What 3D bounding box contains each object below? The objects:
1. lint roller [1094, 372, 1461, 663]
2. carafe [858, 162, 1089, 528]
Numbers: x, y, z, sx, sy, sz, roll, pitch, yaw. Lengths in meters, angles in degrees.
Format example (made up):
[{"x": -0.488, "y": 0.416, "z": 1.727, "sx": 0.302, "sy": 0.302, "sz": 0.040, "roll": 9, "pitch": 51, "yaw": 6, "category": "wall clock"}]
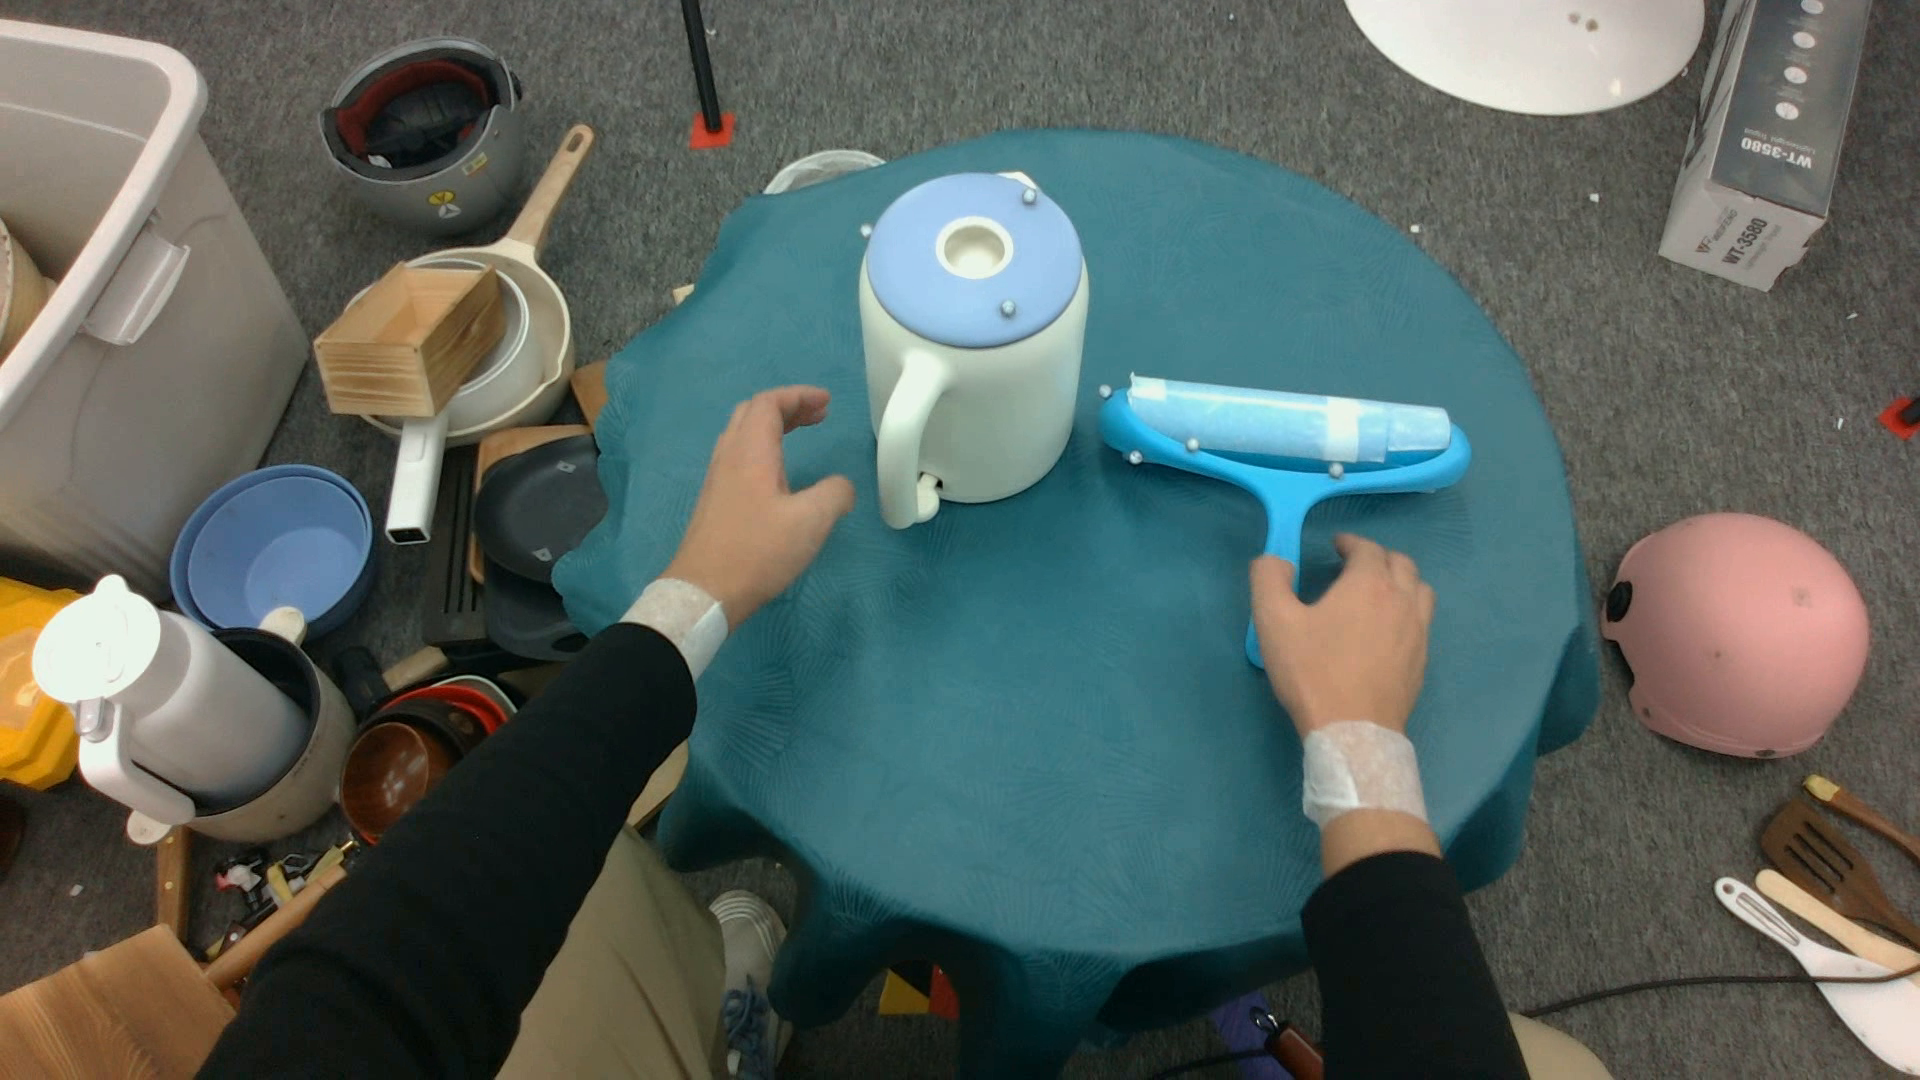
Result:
[{"x": 0.193, "y": -0.019, "z": 0.832, "sx": 0.229, "sy": 0.067, "sz": 0.181, "roll": 6, "pitch": 56, "yaw": 0, "category": "lint roller"}, {"x": -0.001, "y": -0.100, "z": 0.811, "sx": 0.132, "sy": 0.182, "sz": 0.192, "roll": 19, "pitch": 66, "yaw": 10, "category": "carafe"}]
